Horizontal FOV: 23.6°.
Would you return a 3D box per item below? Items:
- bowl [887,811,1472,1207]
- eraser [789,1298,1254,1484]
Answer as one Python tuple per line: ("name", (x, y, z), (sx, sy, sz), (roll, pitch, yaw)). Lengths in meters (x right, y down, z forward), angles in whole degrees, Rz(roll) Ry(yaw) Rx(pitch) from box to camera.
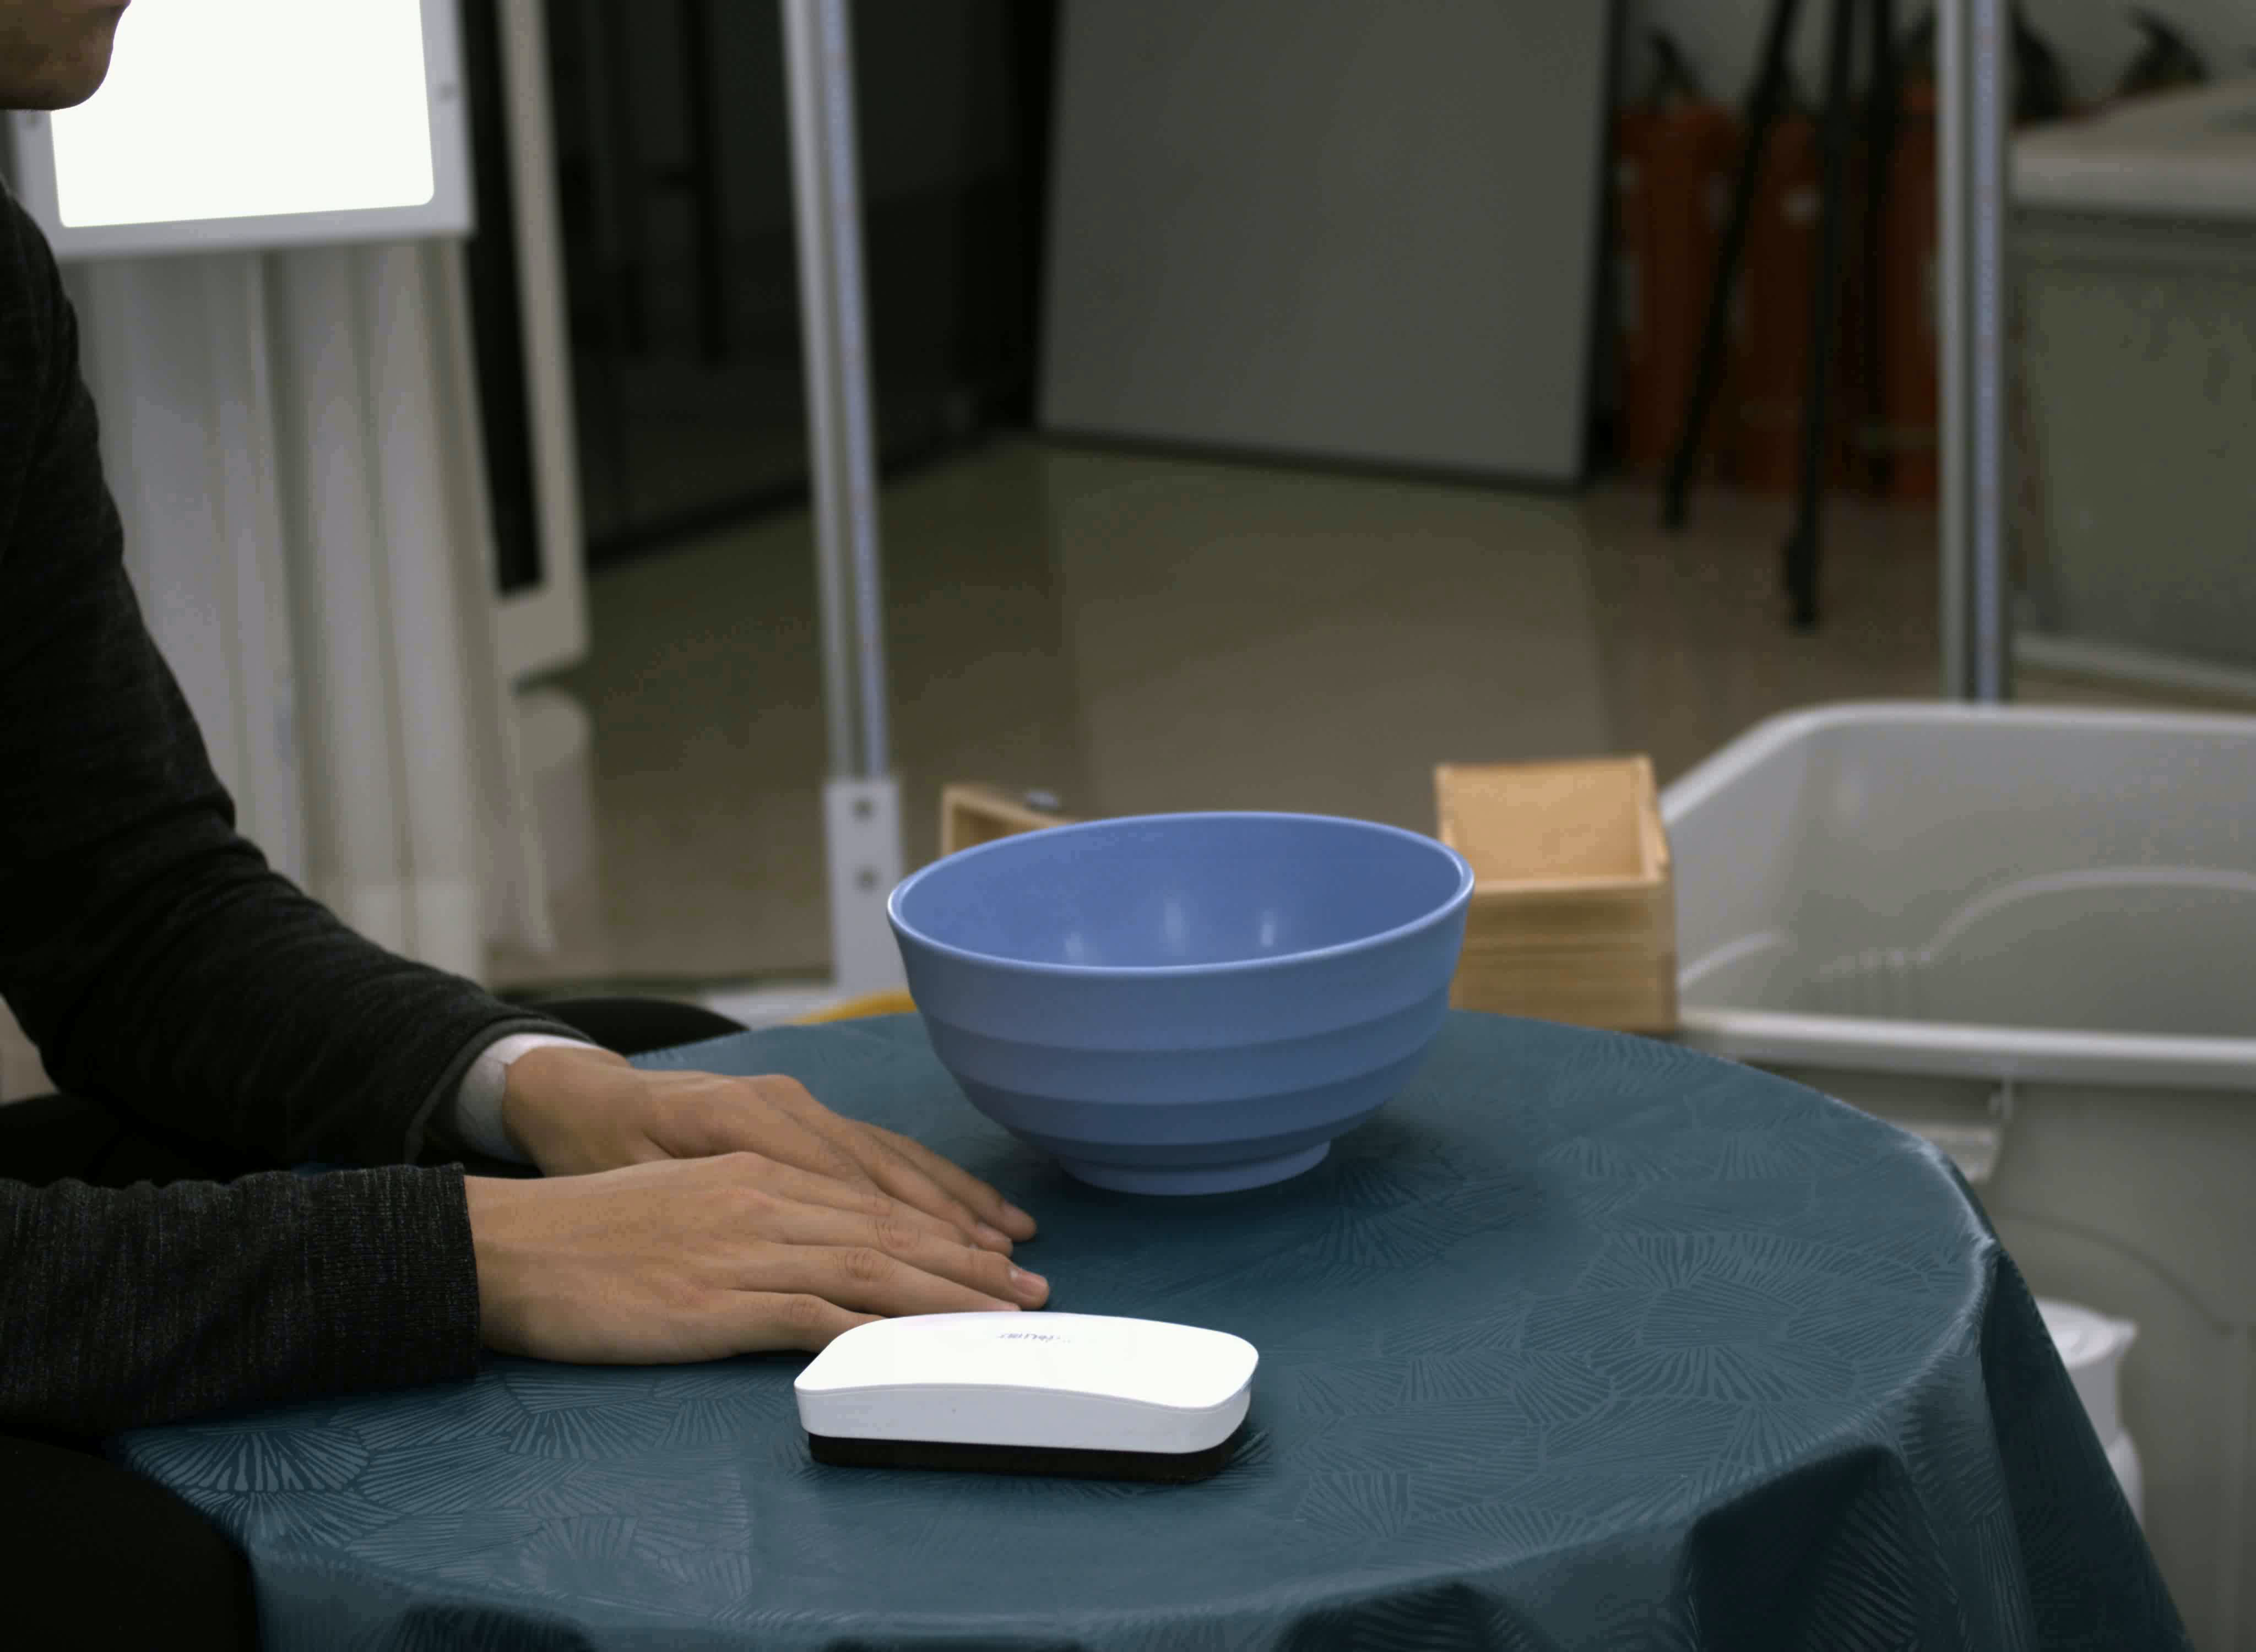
("bowl", (0.020, 0.067, 1.793), (0.194, 0.096, 0.197), (-4, 15, 0))
("eraser", (-0.030, 0.162, 1.546), (0.131, 0.035, 0.063), (1, 13, 18))
